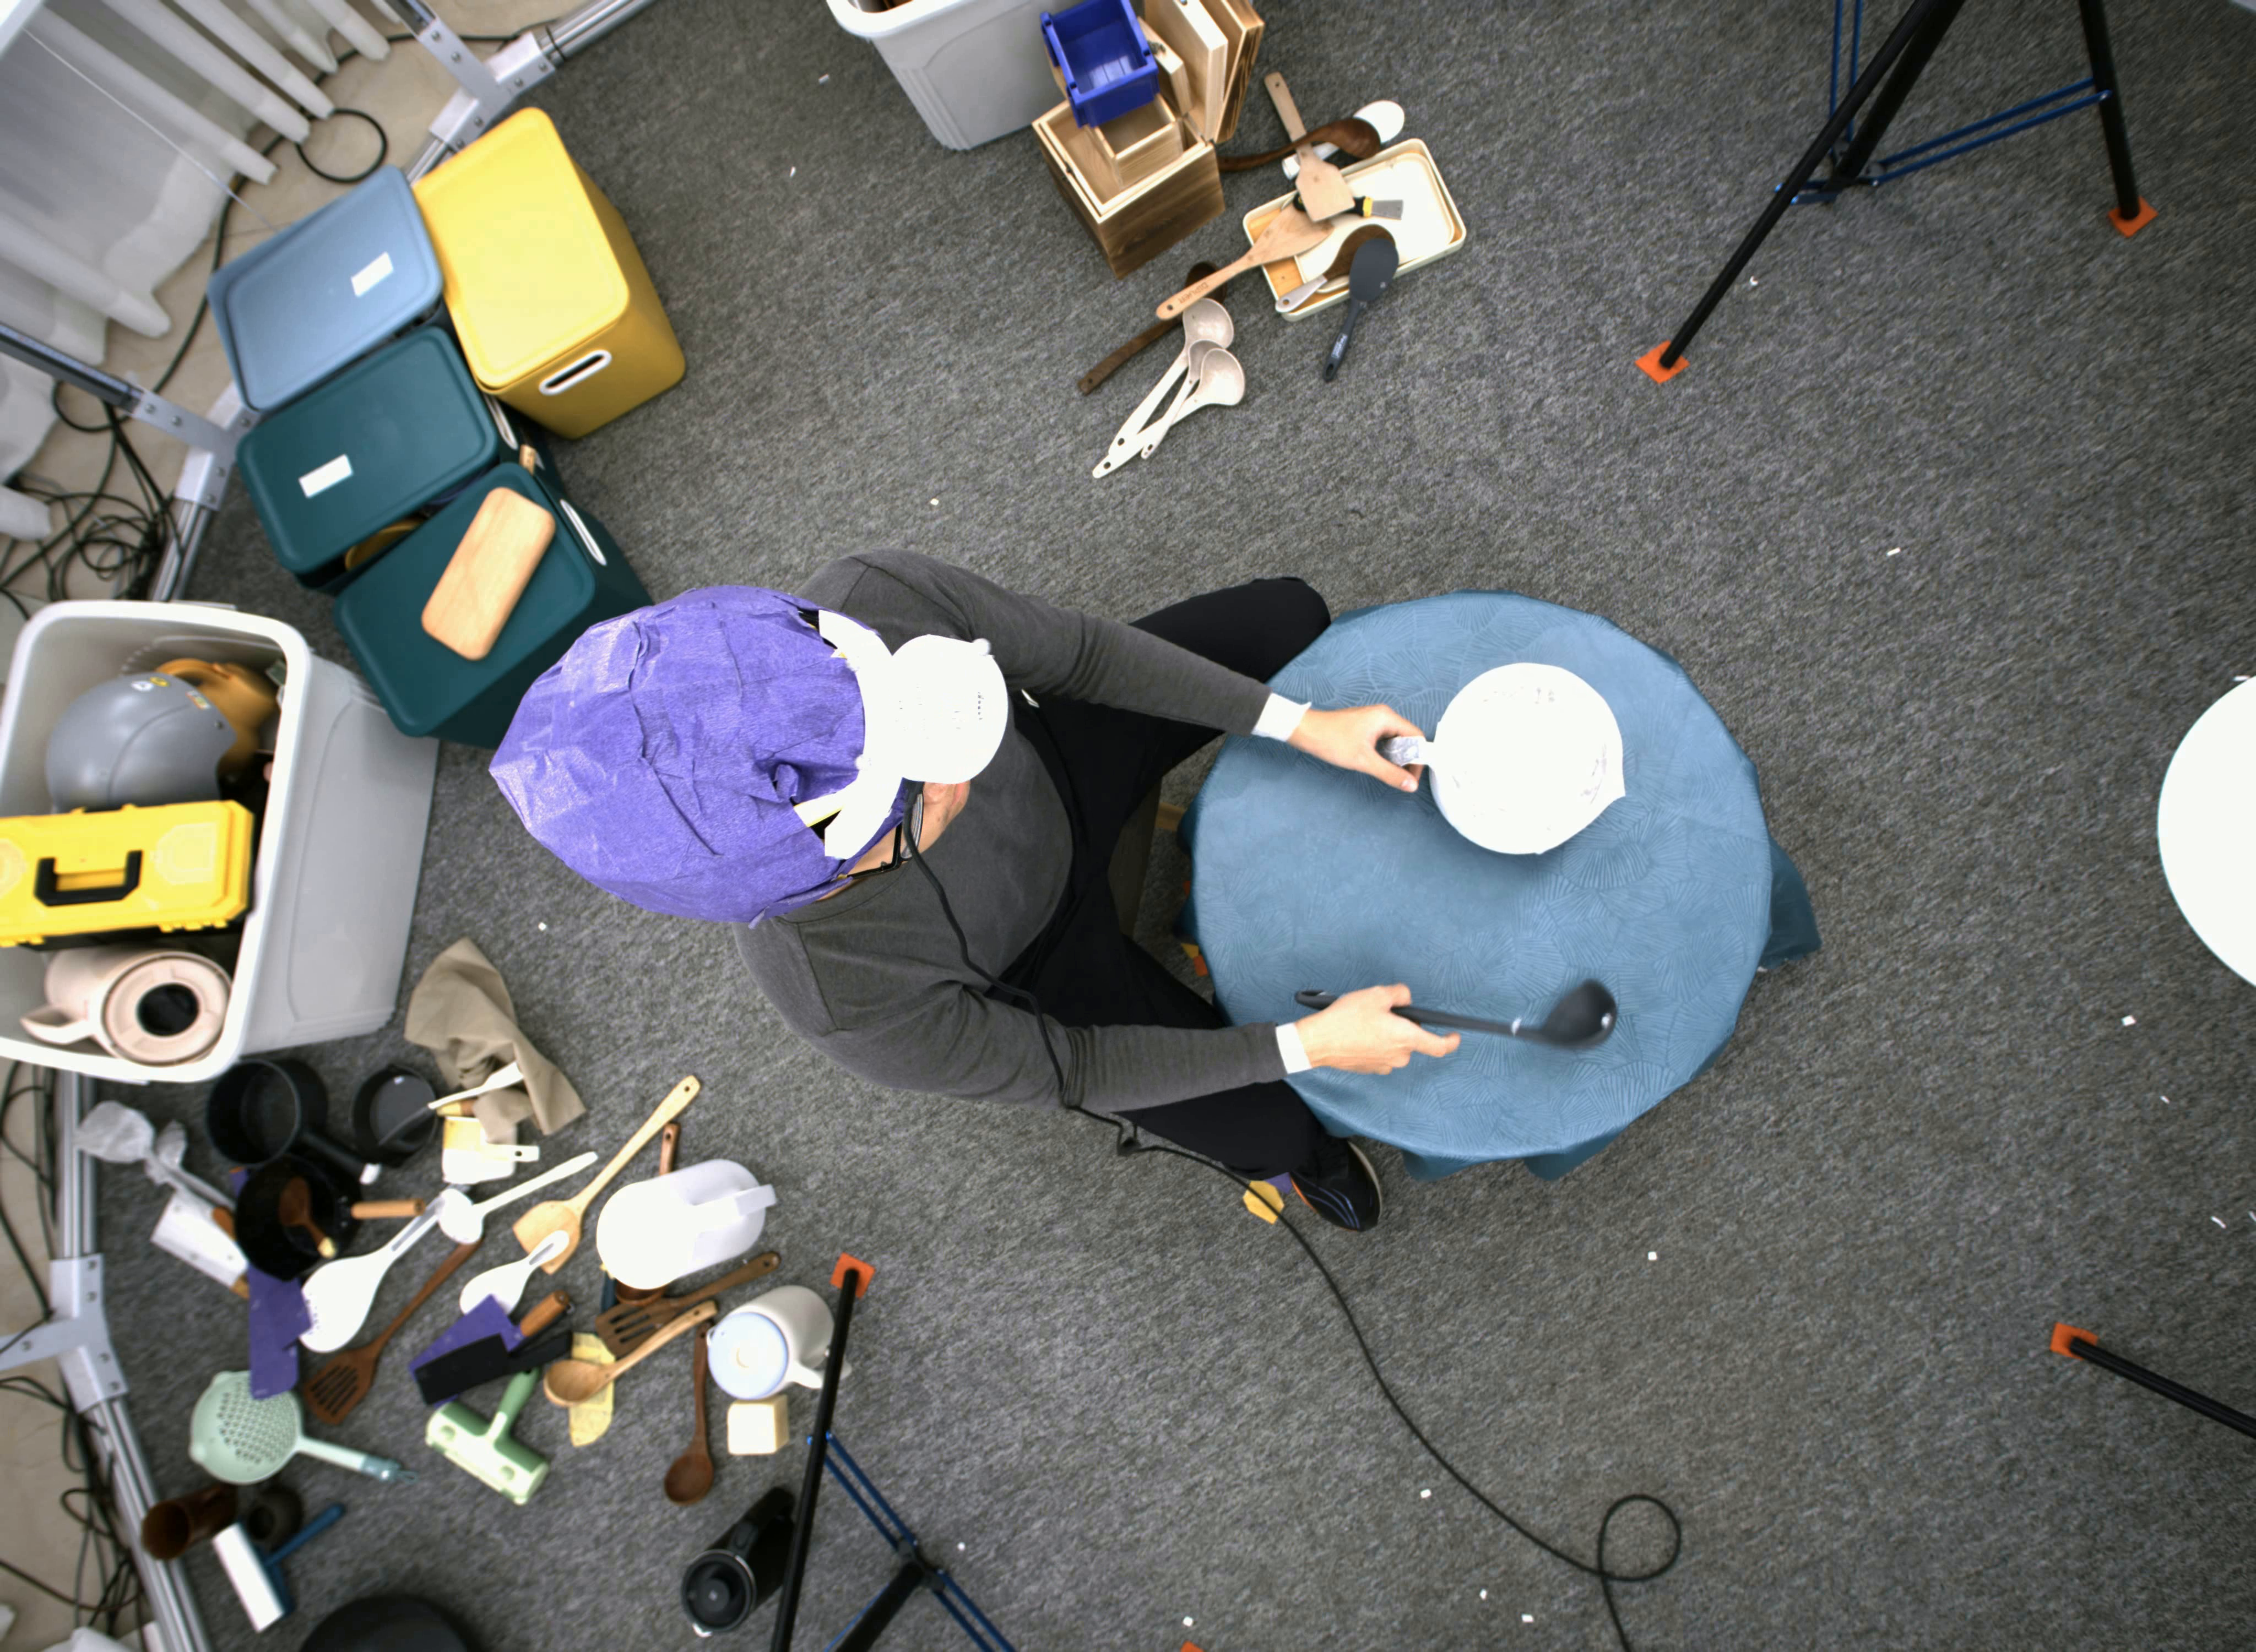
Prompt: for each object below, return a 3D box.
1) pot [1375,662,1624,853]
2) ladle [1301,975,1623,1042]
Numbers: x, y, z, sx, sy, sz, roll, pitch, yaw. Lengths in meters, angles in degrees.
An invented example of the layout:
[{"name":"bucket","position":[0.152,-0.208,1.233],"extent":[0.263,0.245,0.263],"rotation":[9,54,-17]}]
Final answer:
[{"name":"pot","position":[0.367,-0.067,1.379],"extent":[0.234,0.137,0.178],"rotation":[3,86,10]},{"name":"ladle","position":[0.328,0.165,1.354],"extent":[0.314,0.084,0.065],"rotation":[7,110,-2]}]
